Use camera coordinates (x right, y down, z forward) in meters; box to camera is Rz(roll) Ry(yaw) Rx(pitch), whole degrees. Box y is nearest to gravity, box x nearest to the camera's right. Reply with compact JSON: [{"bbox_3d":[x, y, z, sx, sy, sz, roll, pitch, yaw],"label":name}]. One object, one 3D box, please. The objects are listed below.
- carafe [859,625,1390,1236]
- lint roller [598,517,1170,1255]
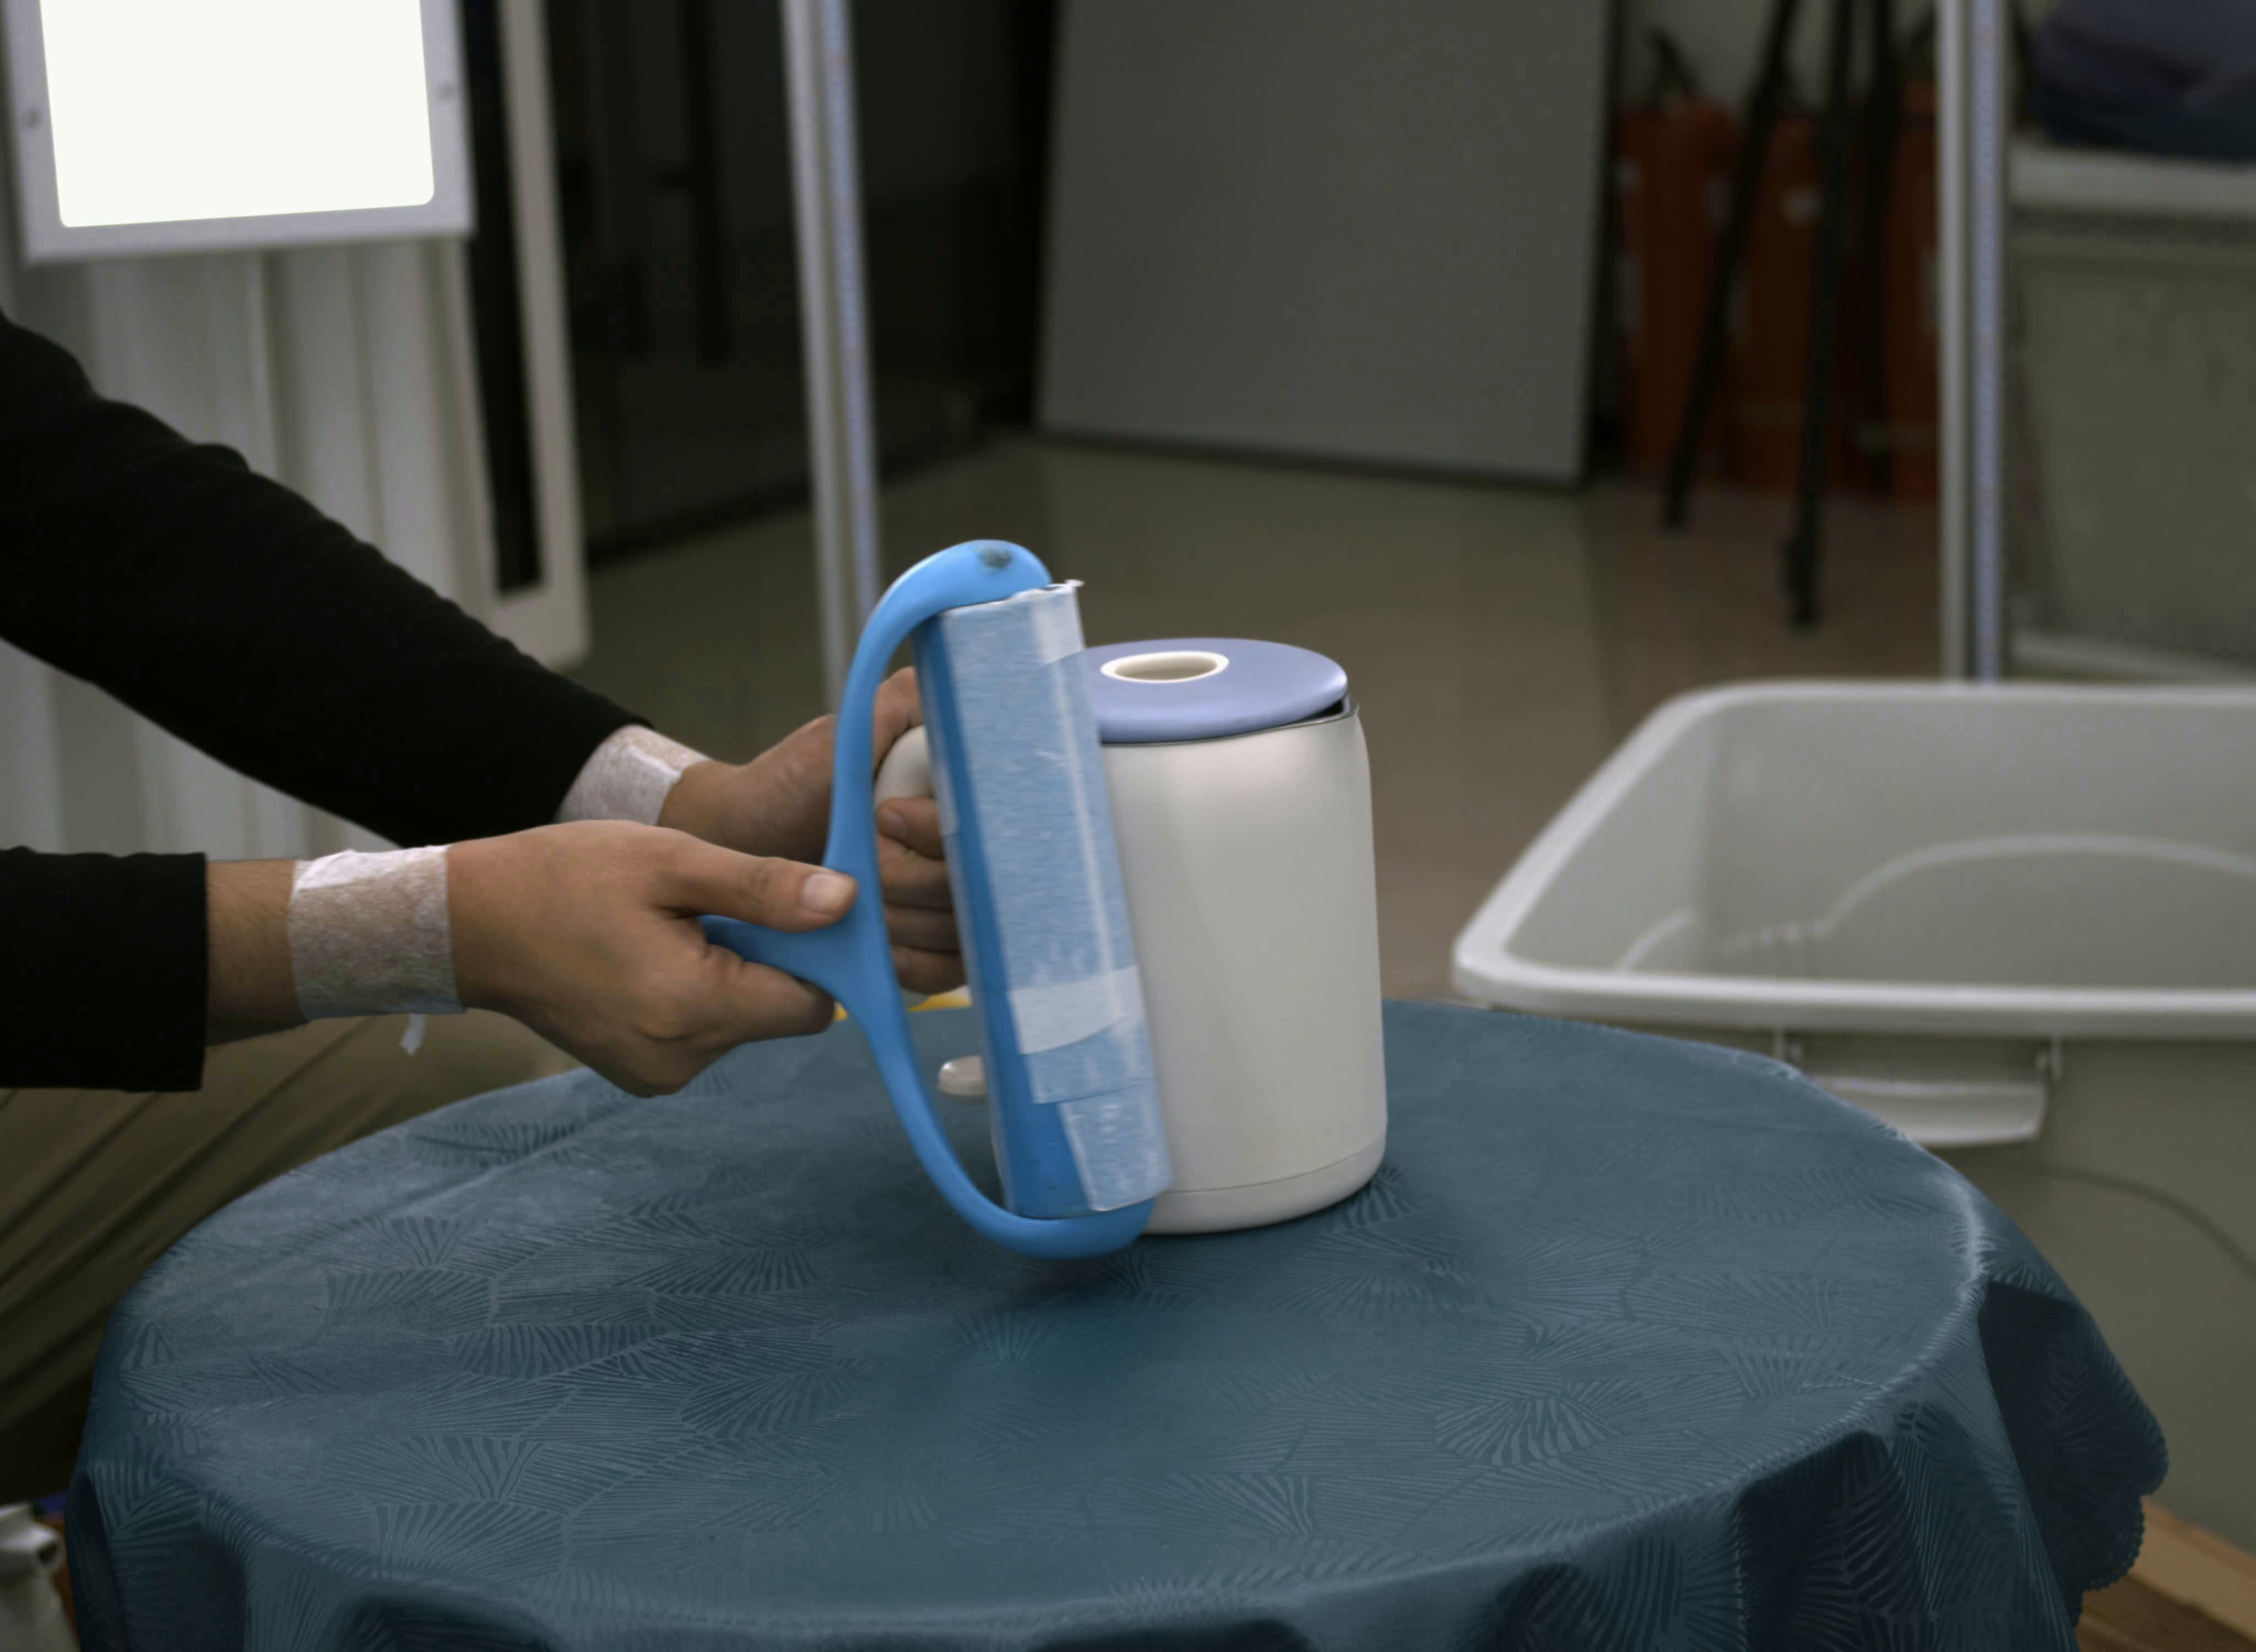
[{"bbox_3d":[-0.005,0.033,1.769,0.191,0.184,0.130,1,13,29],"label":"carafe"},{"bbox_3d":[-0.086,0.030,1.687,0.179,0.231,0.067,-11,7,12],"label":"lint roller"}]
